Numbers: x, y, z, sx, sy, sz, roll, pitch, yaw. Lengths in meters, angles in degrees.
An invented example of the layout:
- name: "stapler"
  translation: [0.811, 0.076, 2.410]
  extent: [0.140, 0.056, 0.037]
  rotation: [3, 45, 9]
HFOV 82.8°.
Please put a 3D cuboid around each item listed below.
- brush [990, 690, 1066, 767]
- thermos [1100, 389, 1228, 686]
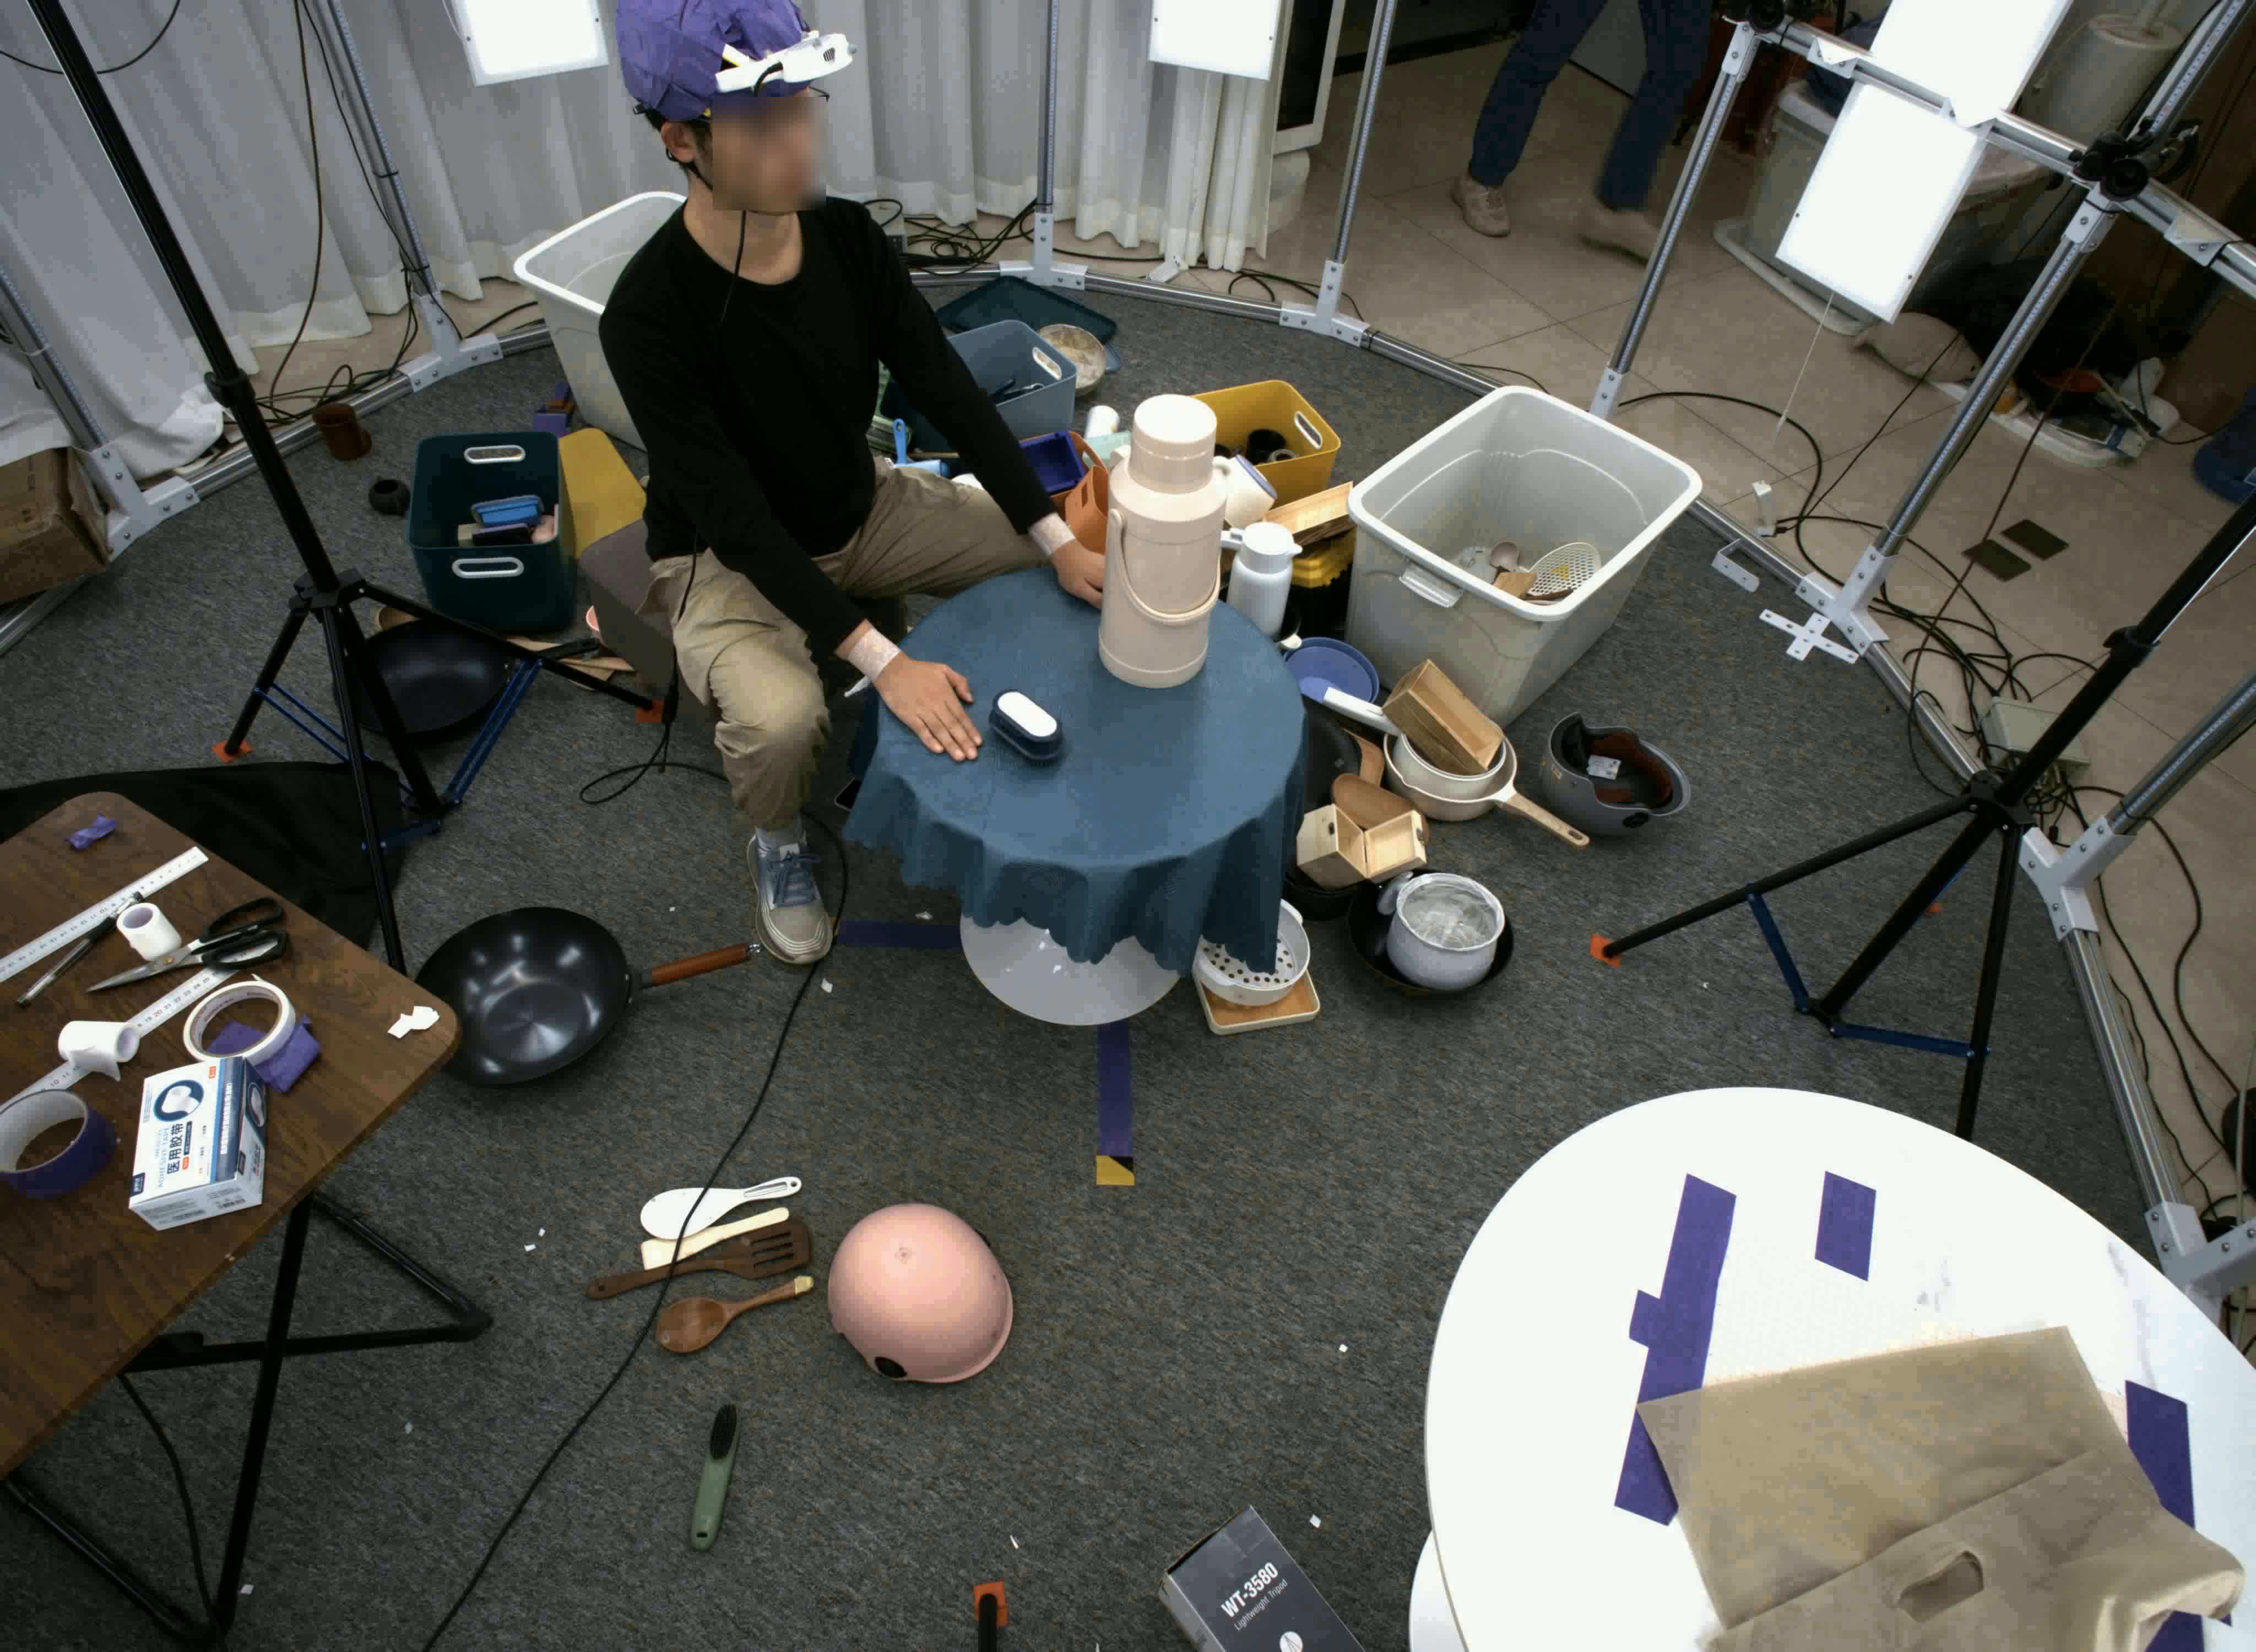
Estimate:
- name: "brush"
  translation: [-0.136, -0.131, 1.740]
  extent: [0.068, 0.060, 0.123]
  rotation: [-33, 59, -28]
- name: "thermos"
  translation: [0.041, -0.395, 1.760]
  extent: [0.176, 0.396, 0.211]
  rotation: [-28, 57, -23]
